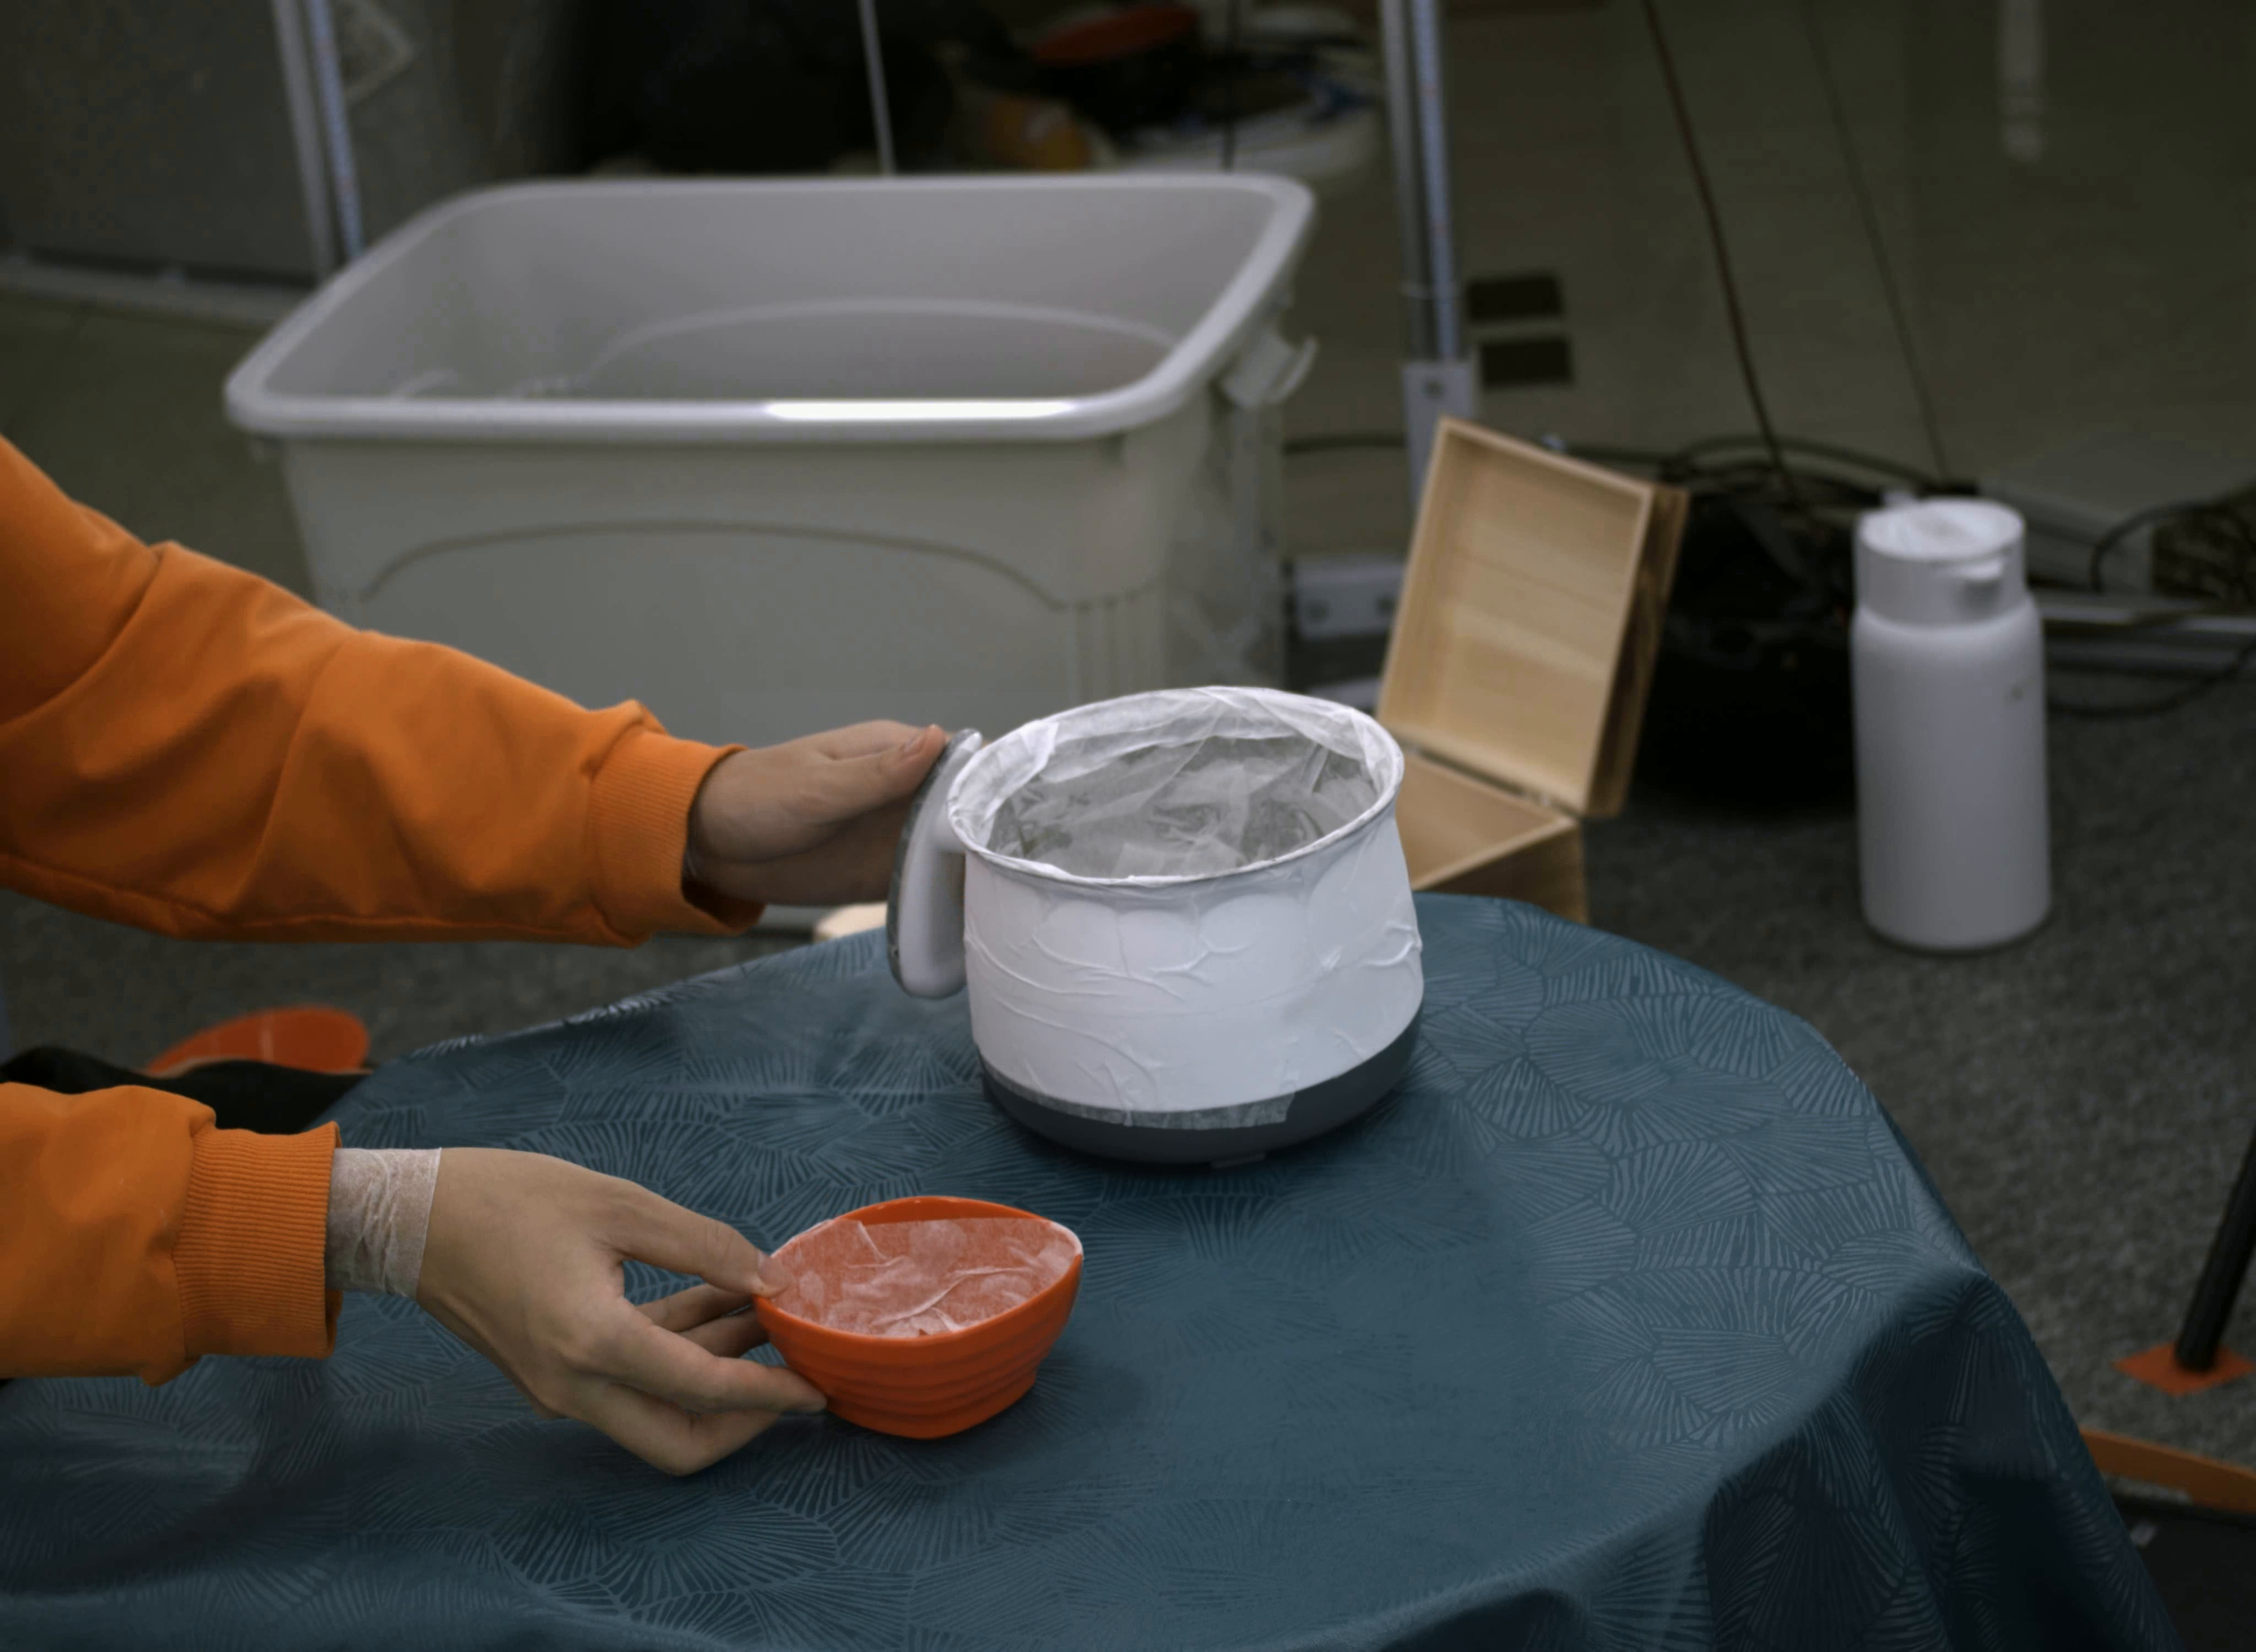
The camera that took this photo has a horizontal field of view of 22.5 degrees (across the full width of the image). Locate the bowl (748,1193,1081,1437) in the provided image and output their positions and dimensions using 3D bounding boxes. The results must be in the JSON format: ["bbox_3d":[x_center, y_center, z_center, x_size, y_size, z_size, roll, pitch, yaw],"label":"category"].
[{"bbox_3d":[-0.074,0.177,2.016,0.119,0.052,0.117,-4,22,2],"label":"bowl"}]

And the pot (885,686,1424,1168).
[{"bbox_3d":[0.001,0.036,2.203,0.232,0.139,0.177,11,30,32],"label":"pot"}]
